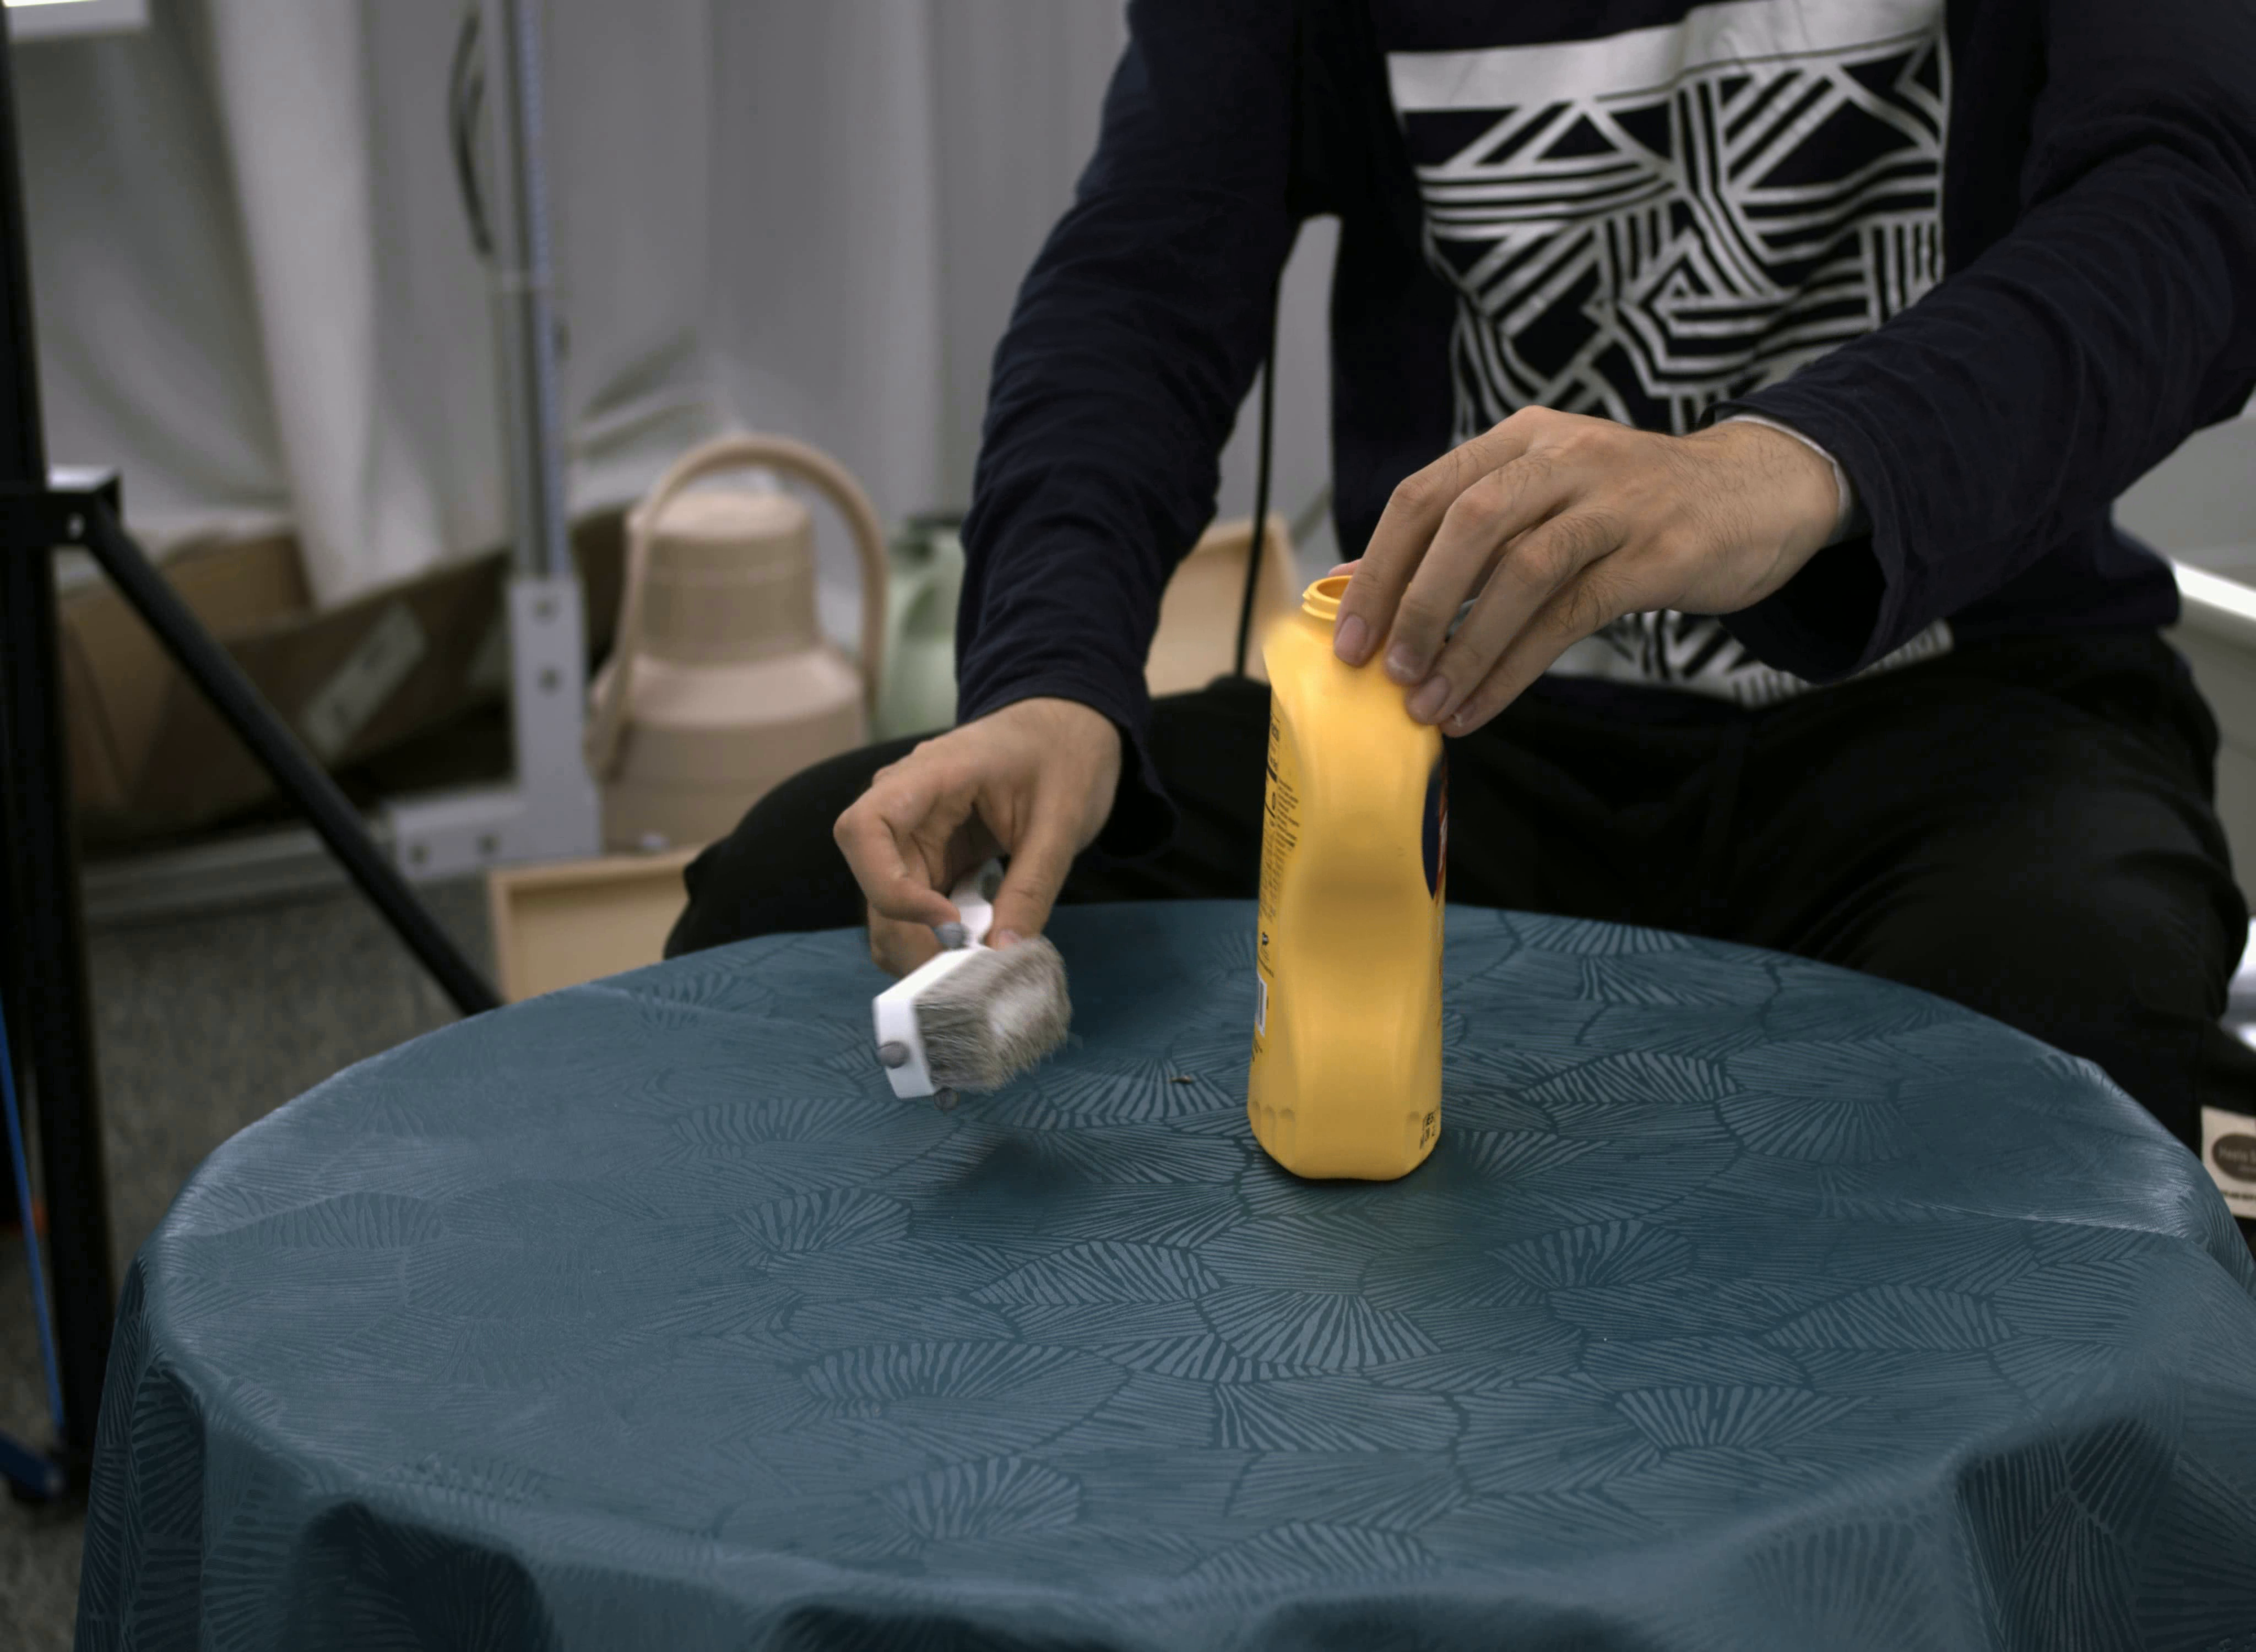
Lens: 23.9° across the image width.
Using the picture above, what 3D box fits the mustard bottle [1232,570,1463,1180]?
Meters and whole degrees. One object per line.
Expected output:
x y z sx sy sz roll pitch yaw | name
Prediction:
0.066 0.011 1.575 0.059 0.172 0.099 3 15 -4 | mustard bottle

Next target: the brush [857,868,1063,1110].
-0.035 0.036 1.665 0.050 0.034 0.242 -38 3 16 | brush
